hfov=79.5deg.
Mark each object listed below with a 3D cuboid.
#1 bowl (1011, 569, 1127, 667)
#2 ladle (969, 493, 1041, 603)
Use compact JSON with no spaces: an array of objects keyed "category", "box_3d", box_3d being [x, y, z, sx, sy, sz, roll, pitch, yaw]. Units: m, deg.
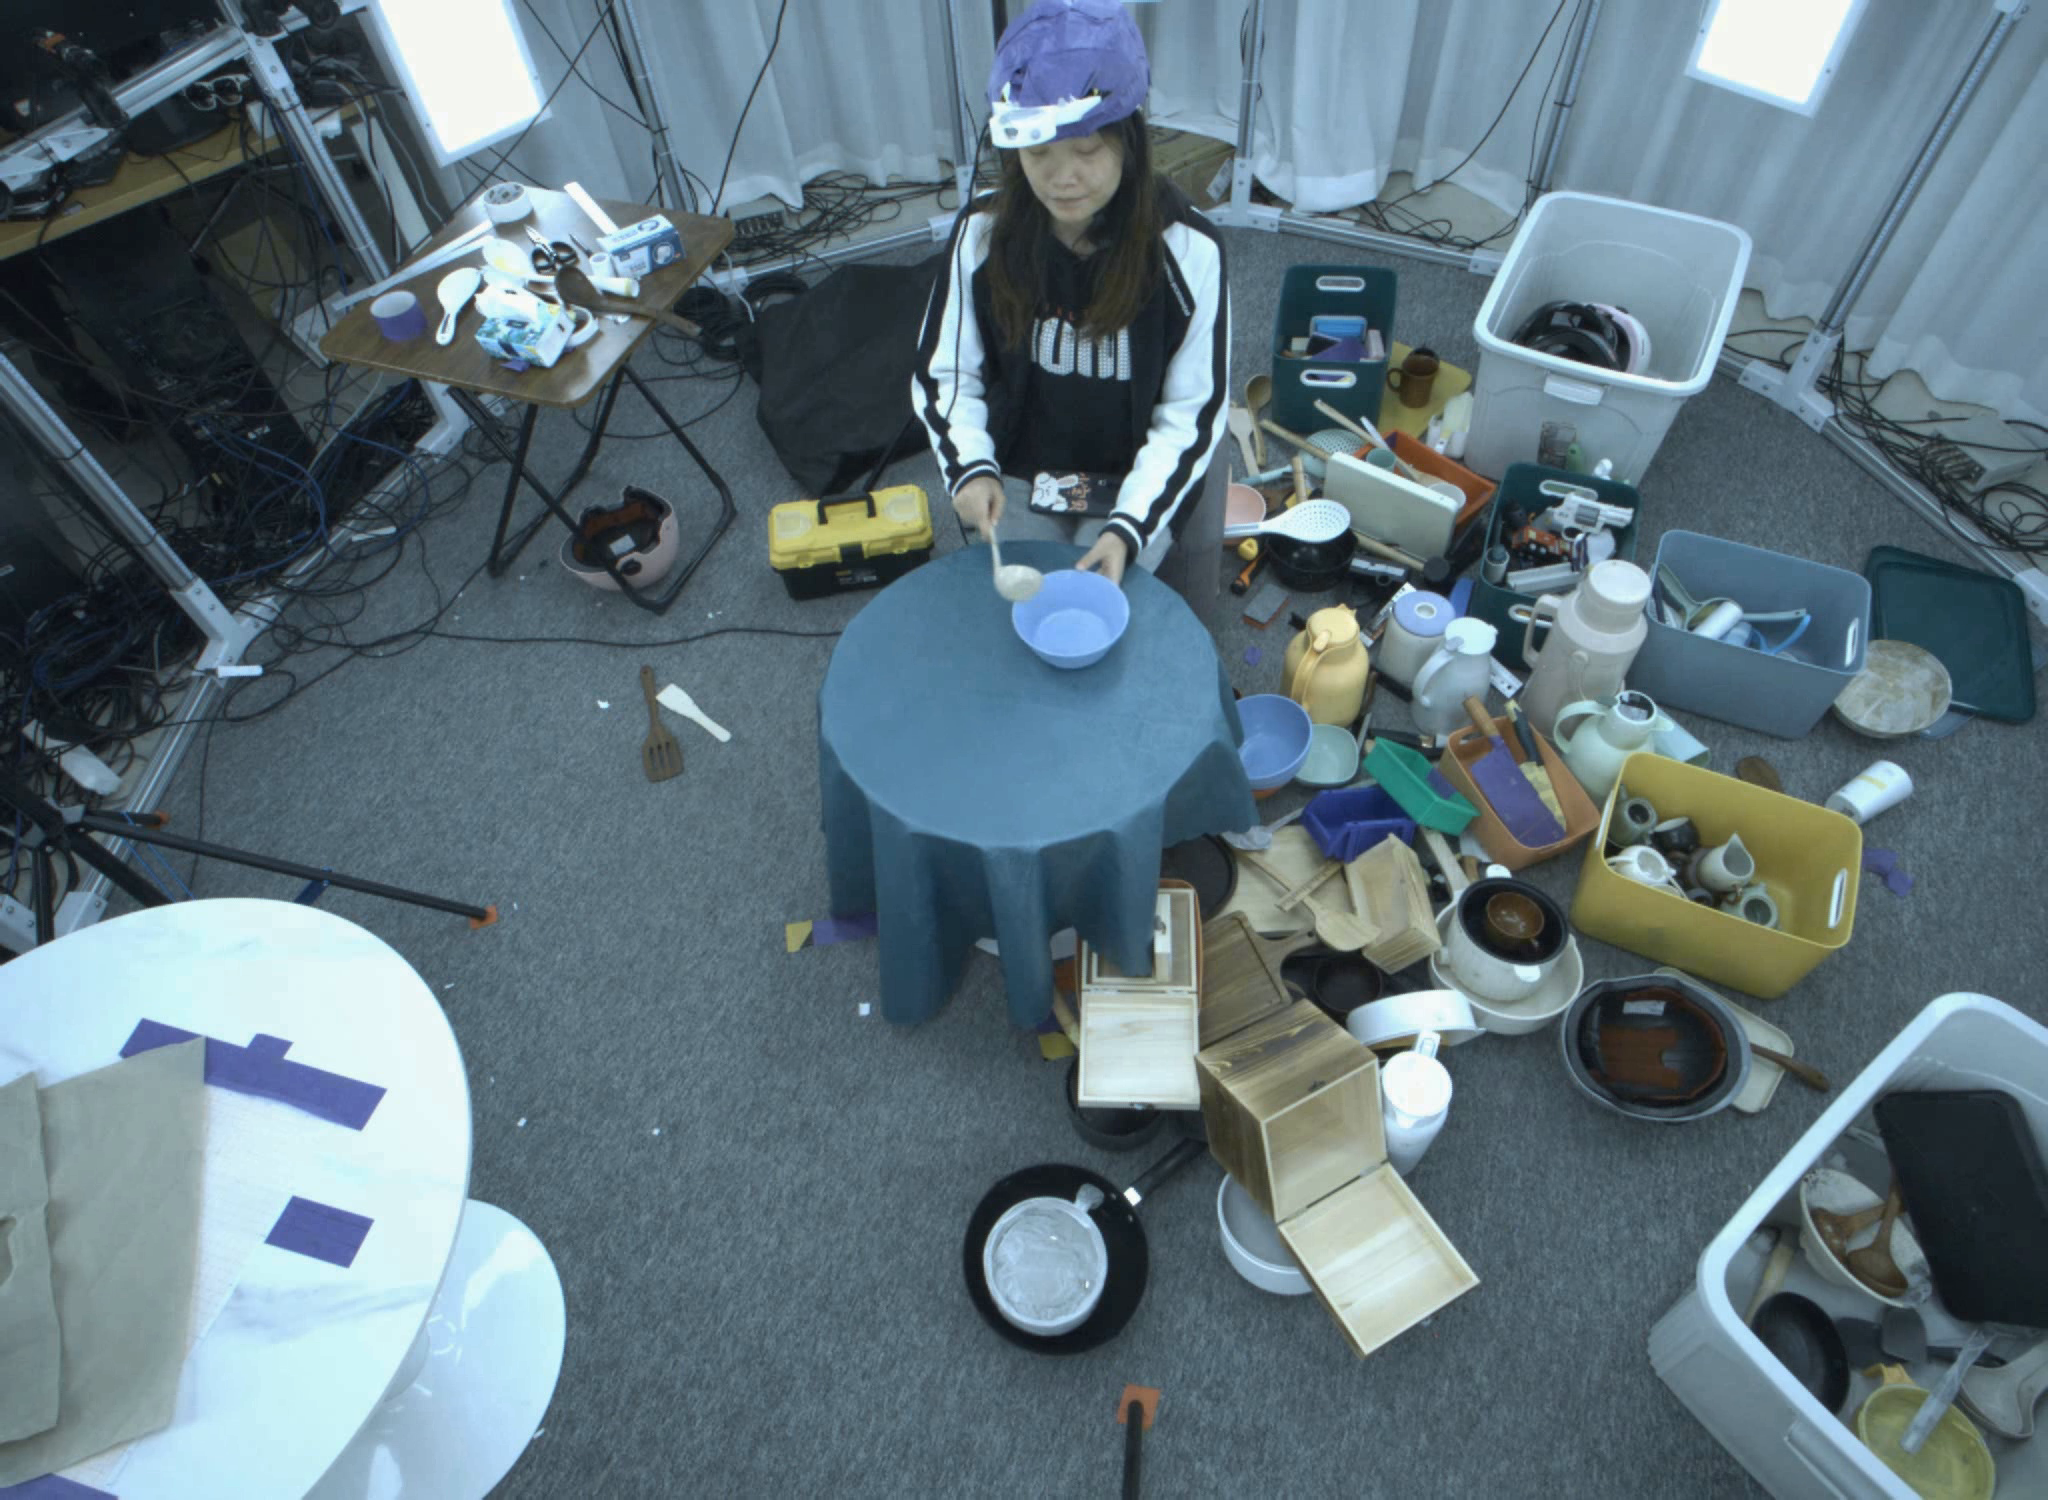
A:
[{"category":"bowl","box_3d":[0.069,-0.192,1.878,0.176,0.071,0.174,0,55,1]},{"category":"ladle","box_3d":[-0.033,-0.324,1.835,0.072,0.074,0.250,-36,50,27]}]
